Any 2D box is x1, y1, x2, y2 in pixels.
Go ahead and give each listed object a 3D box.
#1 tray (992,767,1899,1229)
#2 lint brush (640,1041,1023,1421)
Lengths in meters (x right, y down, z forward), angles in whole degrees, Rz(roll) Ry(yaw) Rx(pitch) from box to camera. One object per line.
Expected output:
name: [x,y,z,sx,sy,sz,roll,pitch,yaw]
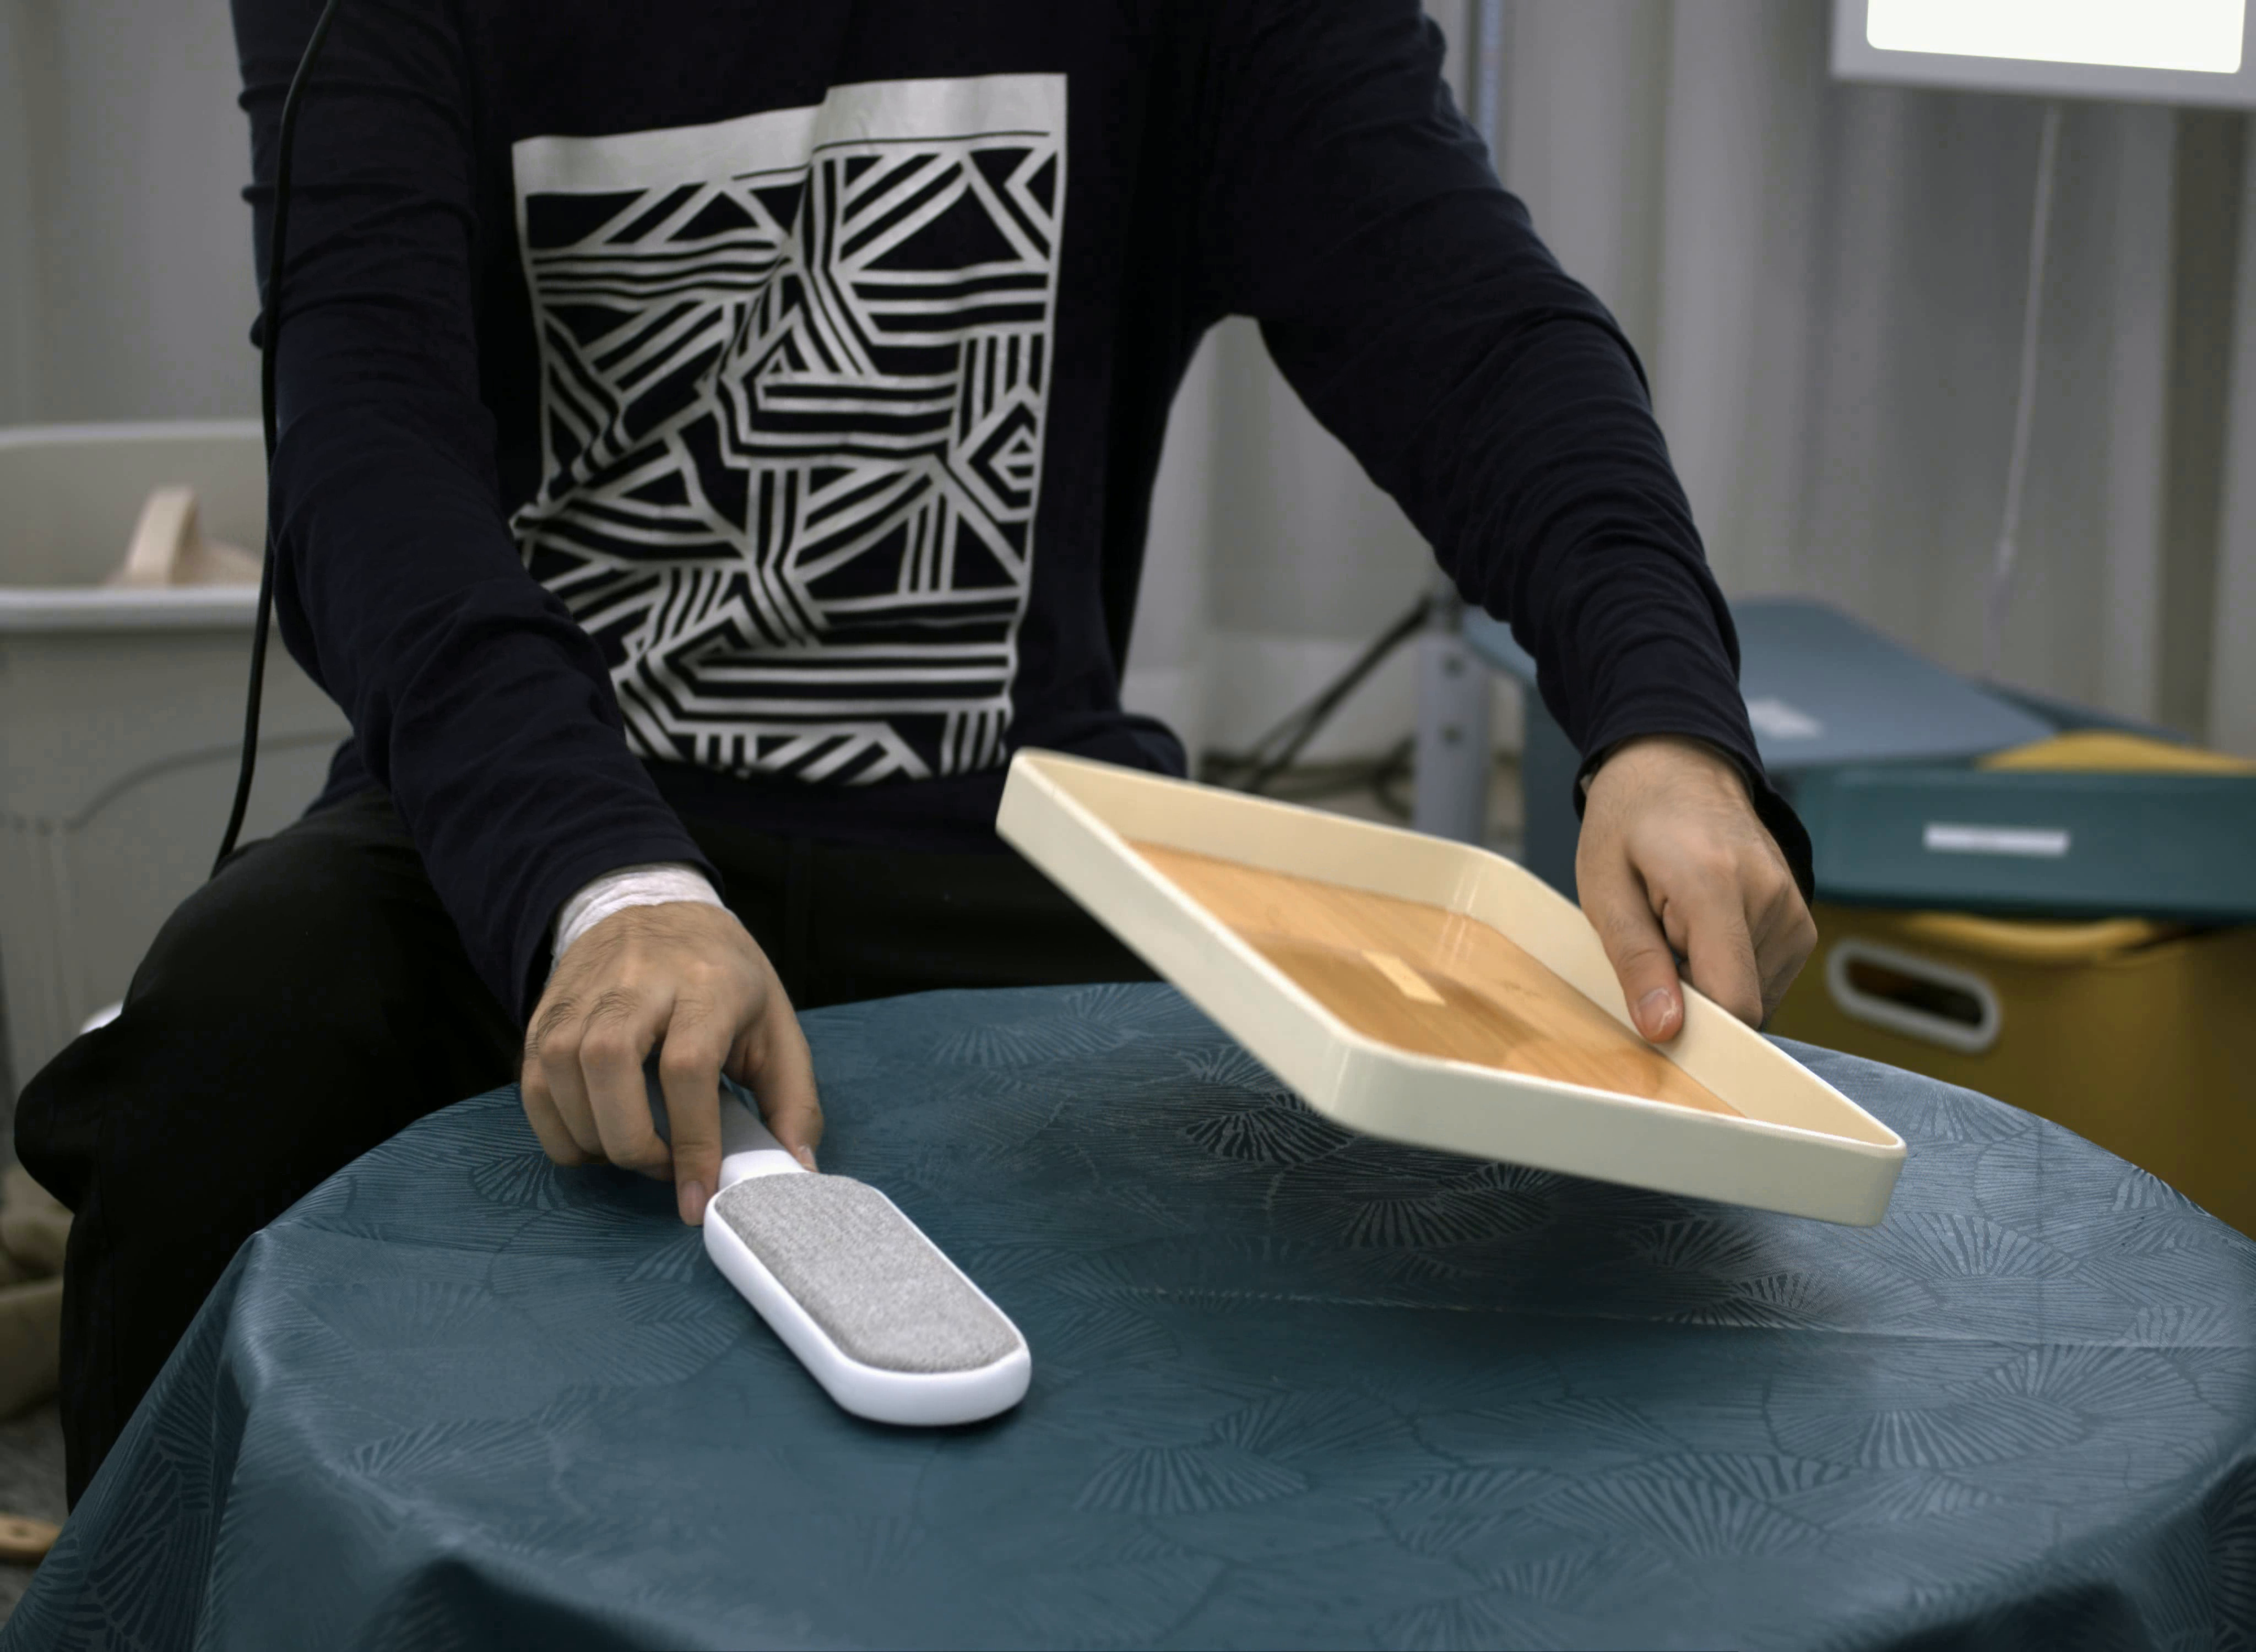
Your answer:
tray: [0.089,0.049,1.606,0.193,0.027,0.297,13,11,-24]
lint brush: [-0.096,0.115,1.560,0.060,0.021,0.305,-11,18,-17]
